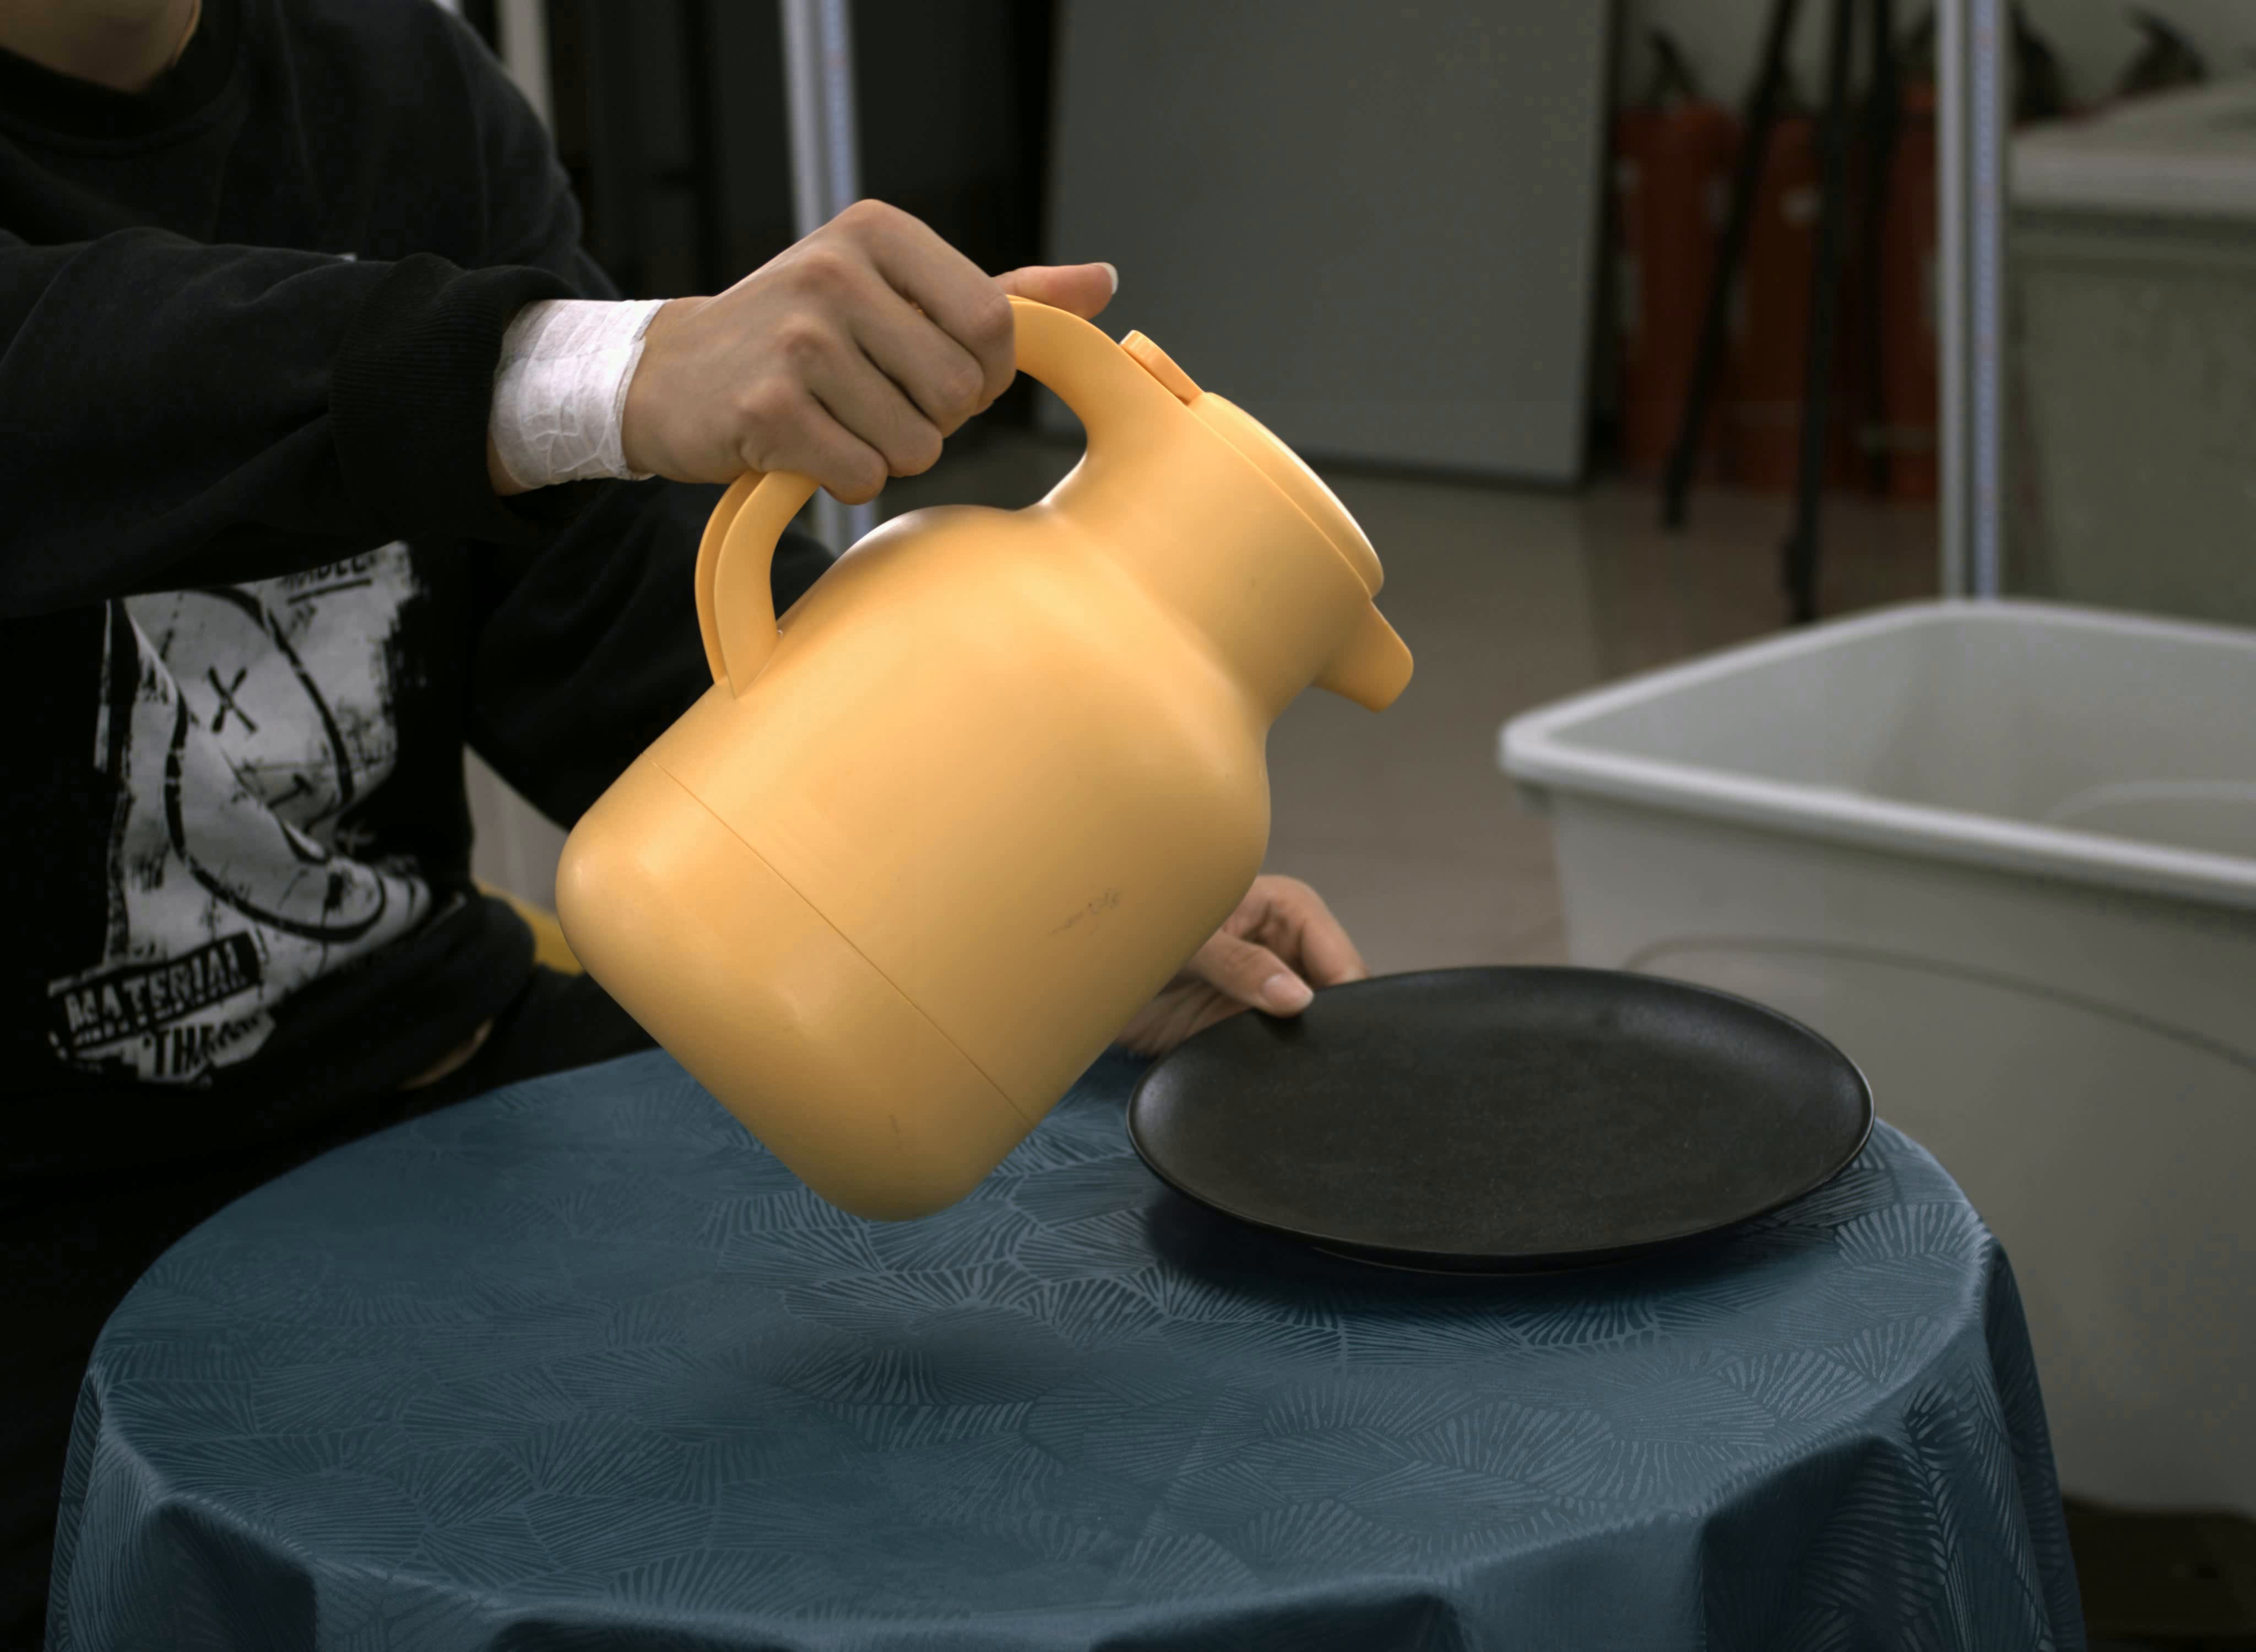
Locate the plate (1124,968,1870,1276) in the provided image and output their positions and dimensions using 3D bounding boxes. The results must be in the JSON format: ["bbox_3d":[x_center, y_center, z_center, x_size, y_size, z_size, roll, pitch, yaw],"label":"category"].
[{"bbox_3d":[0.119,0.099,1.744,0.241,0.023,0.245,-3,19,0],"label":"plate"}]

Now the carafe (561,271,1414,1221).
[{"bbox_3d":[-0.051,-0.033,1.610,0.260,0.201,0.164,-47,16,-6],"label":"carafe"}]
